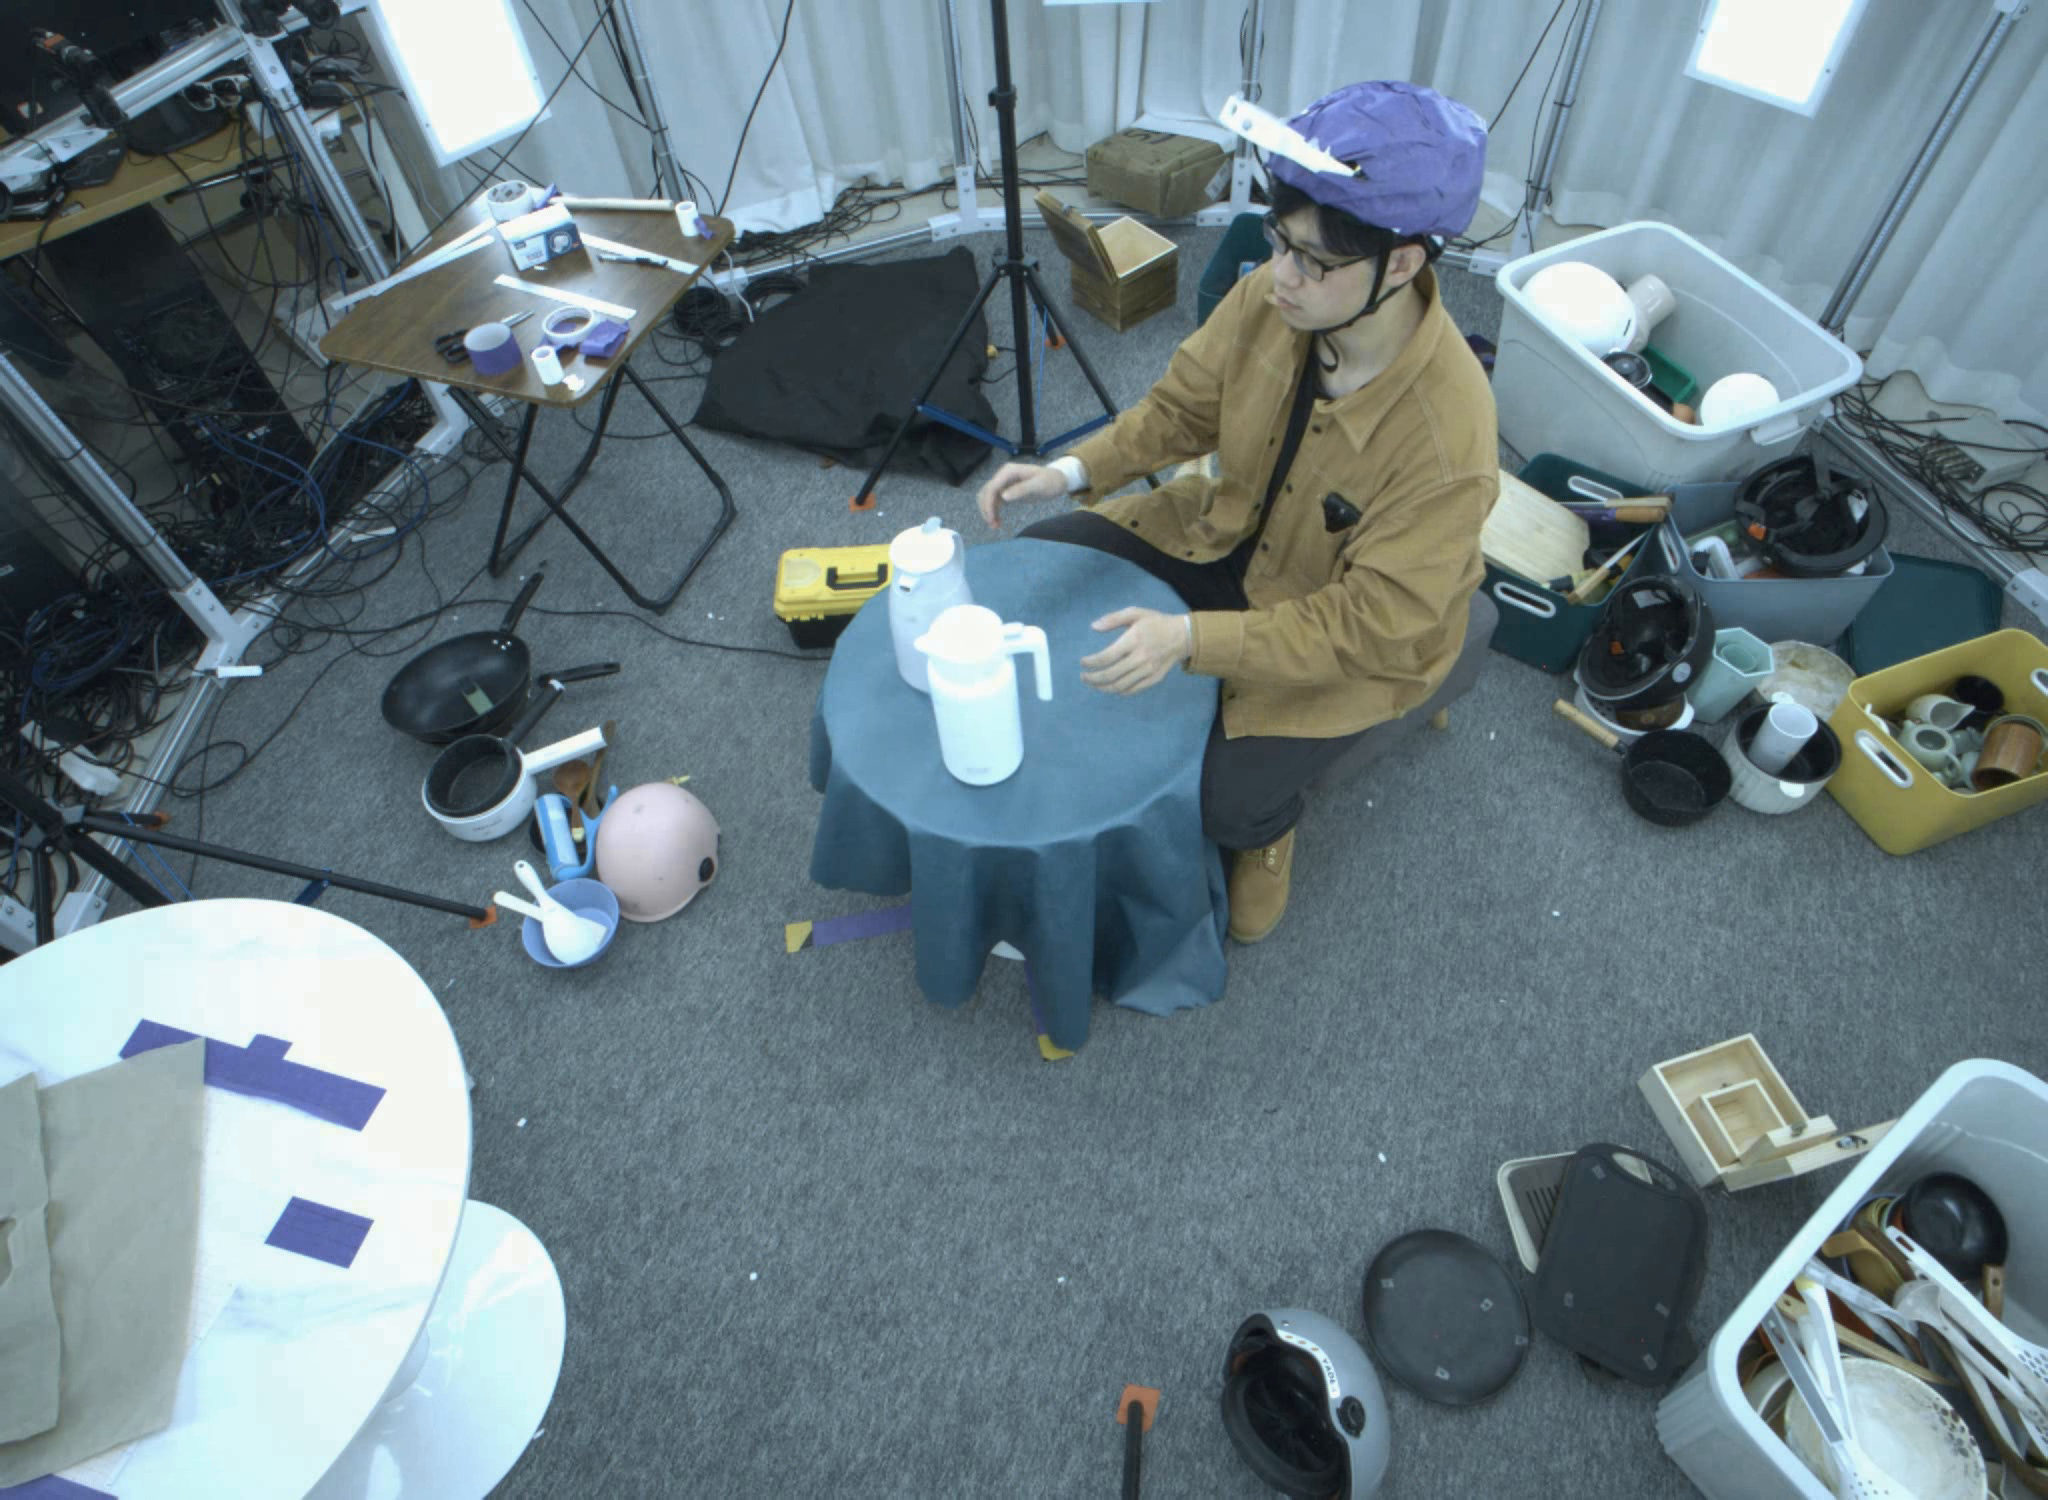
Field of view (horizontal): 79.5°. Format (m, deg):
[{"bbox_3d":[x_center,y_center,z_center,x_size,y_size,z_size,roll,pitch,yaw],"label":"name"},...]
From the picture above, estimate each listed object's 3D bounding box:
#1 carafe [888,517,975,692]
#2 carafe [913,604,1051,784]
[{"bbox_3d":[-0.131,-0.226,1.795,0.131,0.251,0.167,15,56,14],"label":"carafe"},{"bbox_3d":[-0.050,-0.075,1.673,0.173,0.272,0.122,-8,52,-2],"label":"carafe"}]
